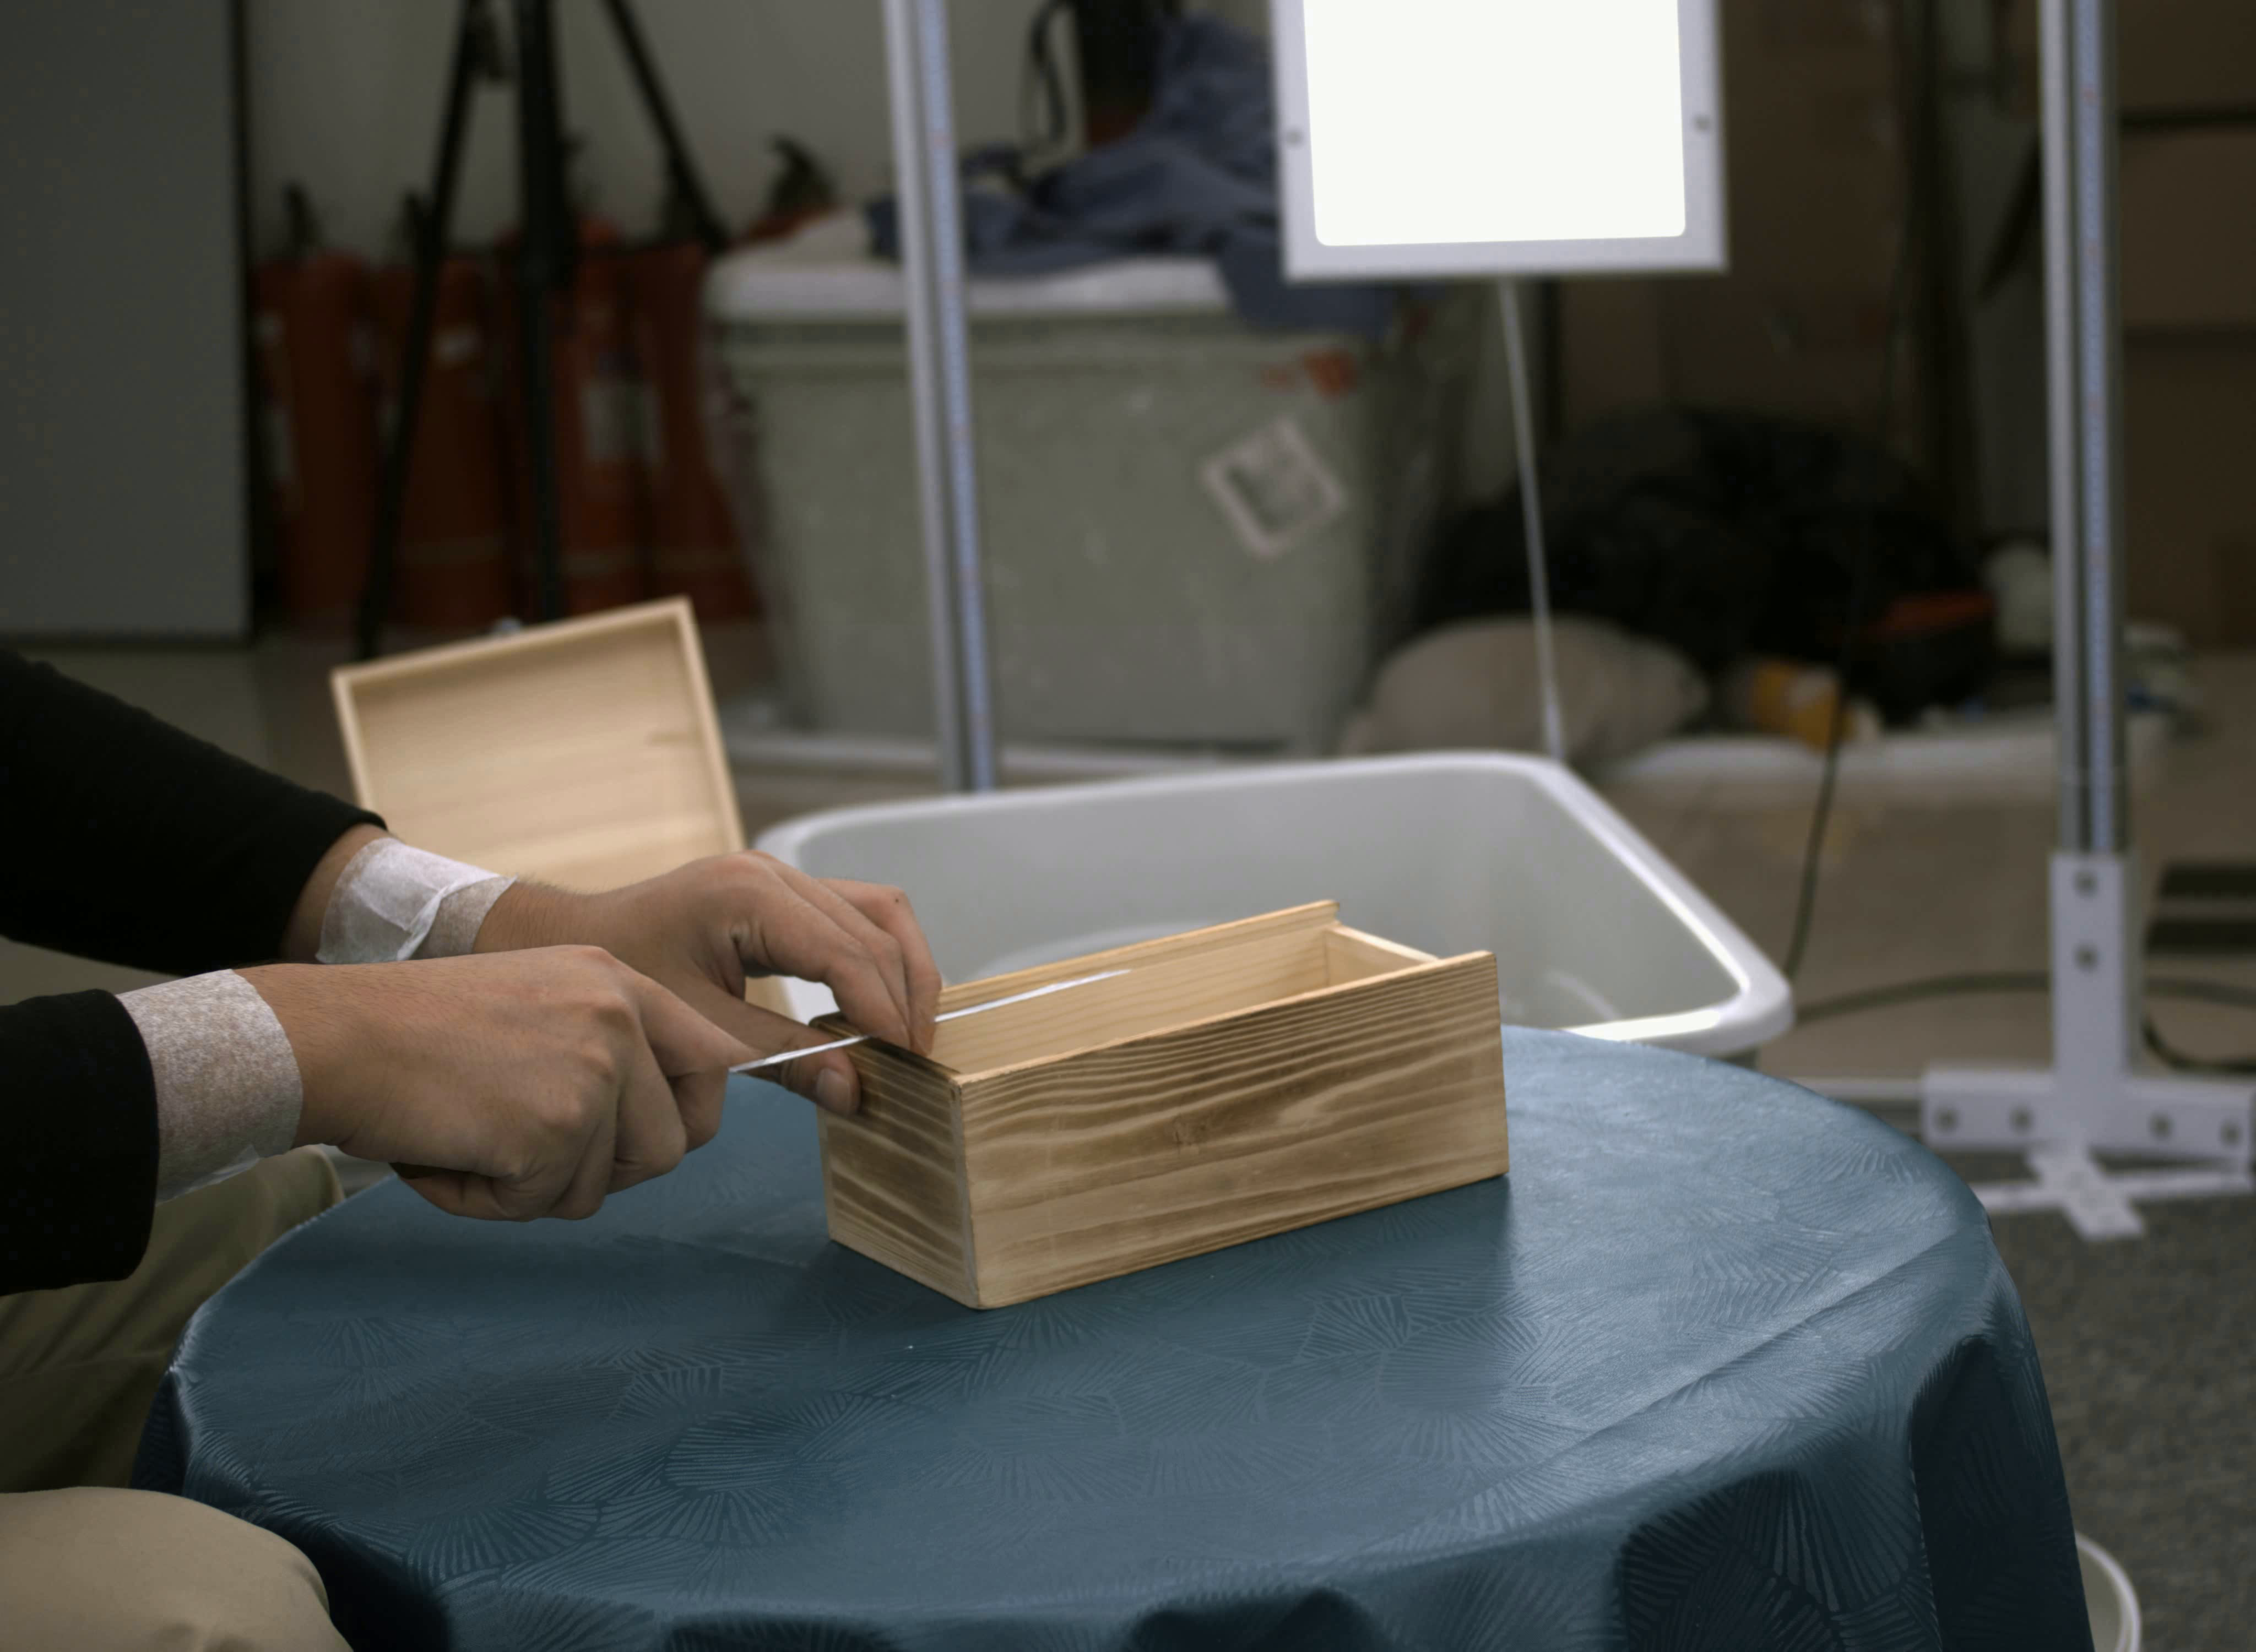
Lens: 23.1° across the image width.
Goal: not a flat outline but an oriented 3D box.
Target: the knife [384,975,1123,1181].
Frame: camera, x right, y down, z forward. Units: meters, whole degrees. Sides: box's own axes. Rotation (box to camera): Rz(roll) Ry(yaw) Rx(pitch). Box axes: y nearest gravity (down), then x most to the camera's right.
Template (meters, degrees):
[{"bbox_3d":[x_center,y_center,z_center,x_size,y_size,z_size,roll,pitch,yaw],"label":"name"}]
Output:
[{"bbox_3d":[-0.113,0.075,1.771,0.282,0.020,0.051,-13,1,-37],"label":"knife"}]

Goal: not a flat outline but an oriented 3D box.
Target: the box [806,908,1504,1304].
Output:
[{"bbox_3d":[0.010,0.092,1.868,0.207,0.080,0.109,-12,15,-27],"label":"box"}]
